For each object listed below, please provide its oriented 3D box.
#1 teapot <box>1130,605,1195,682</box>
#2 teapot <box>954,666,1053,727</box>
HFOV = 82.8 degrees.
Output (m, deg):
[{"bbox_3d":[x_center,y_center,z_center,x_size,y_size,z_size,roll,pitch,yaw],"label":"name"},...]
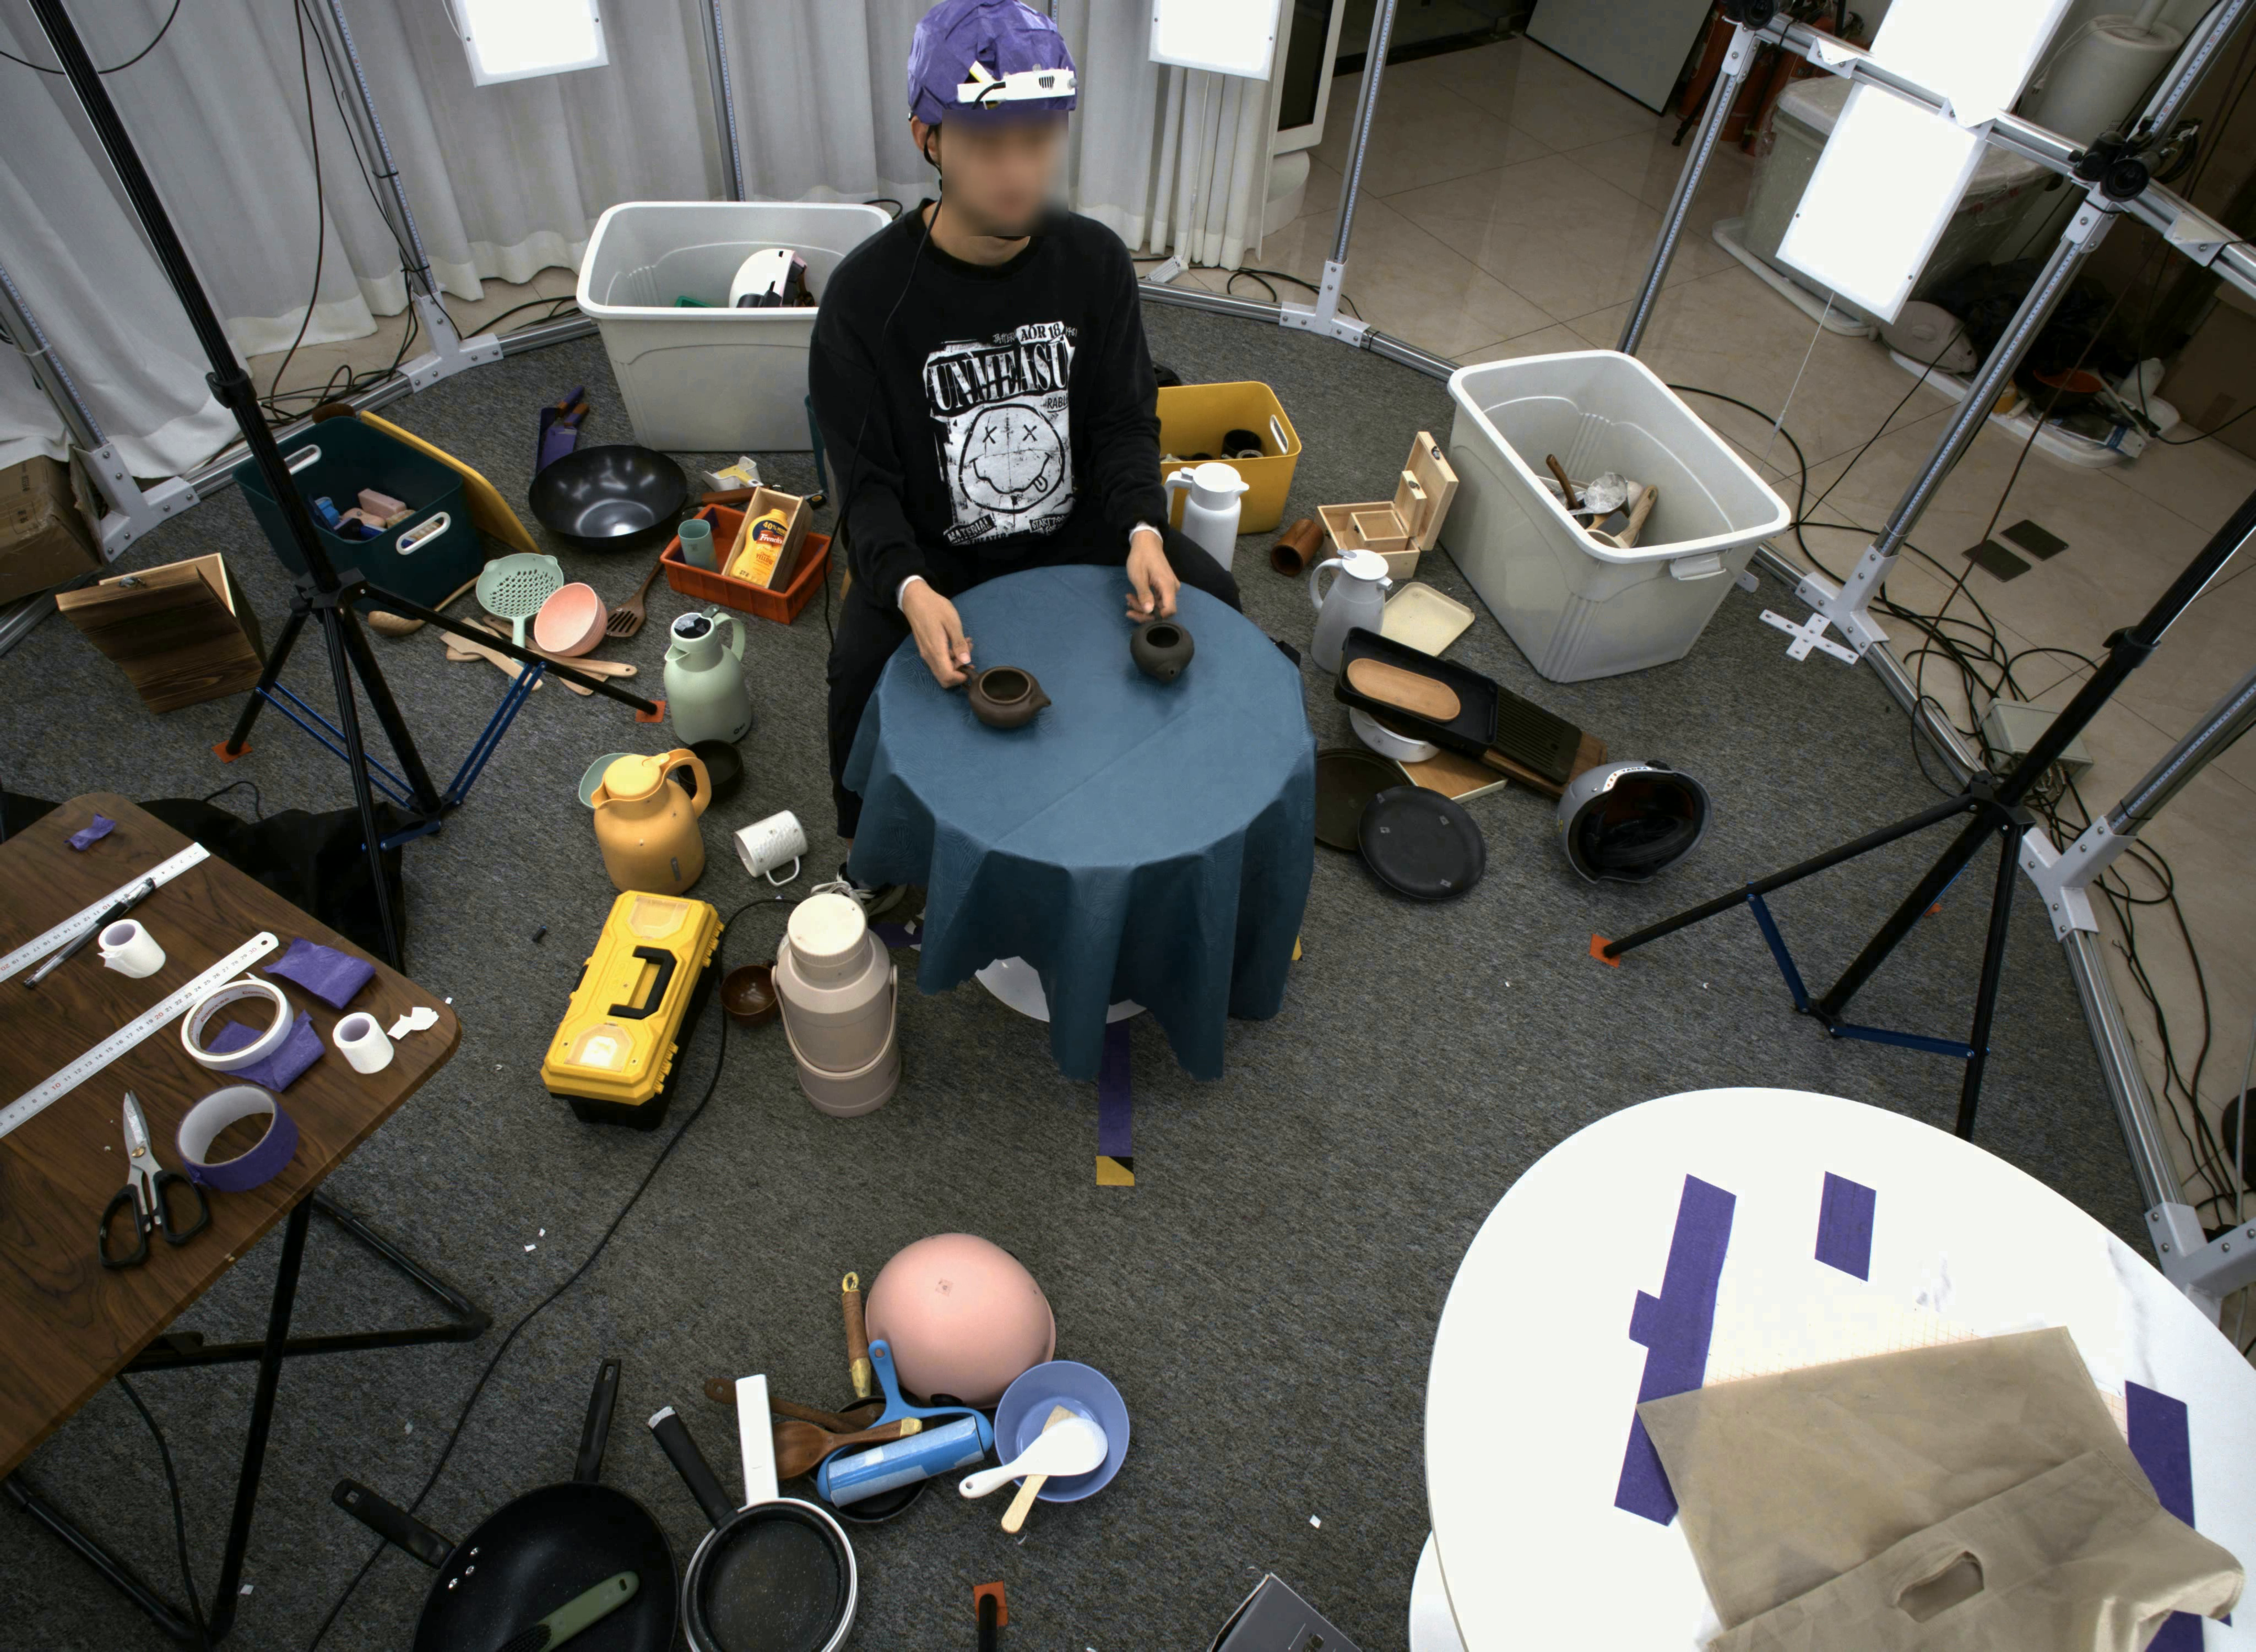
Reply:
[{"bbox_3d":[0.049,-0.259,1.855,0.092,0.063,0.158,-3,50,-9],"label":"teapot"},{"bbox_3d":[-0.173,-0.182,1.781,0.154,0.052,0.104,20,49,13],"label":"teapot"}]
